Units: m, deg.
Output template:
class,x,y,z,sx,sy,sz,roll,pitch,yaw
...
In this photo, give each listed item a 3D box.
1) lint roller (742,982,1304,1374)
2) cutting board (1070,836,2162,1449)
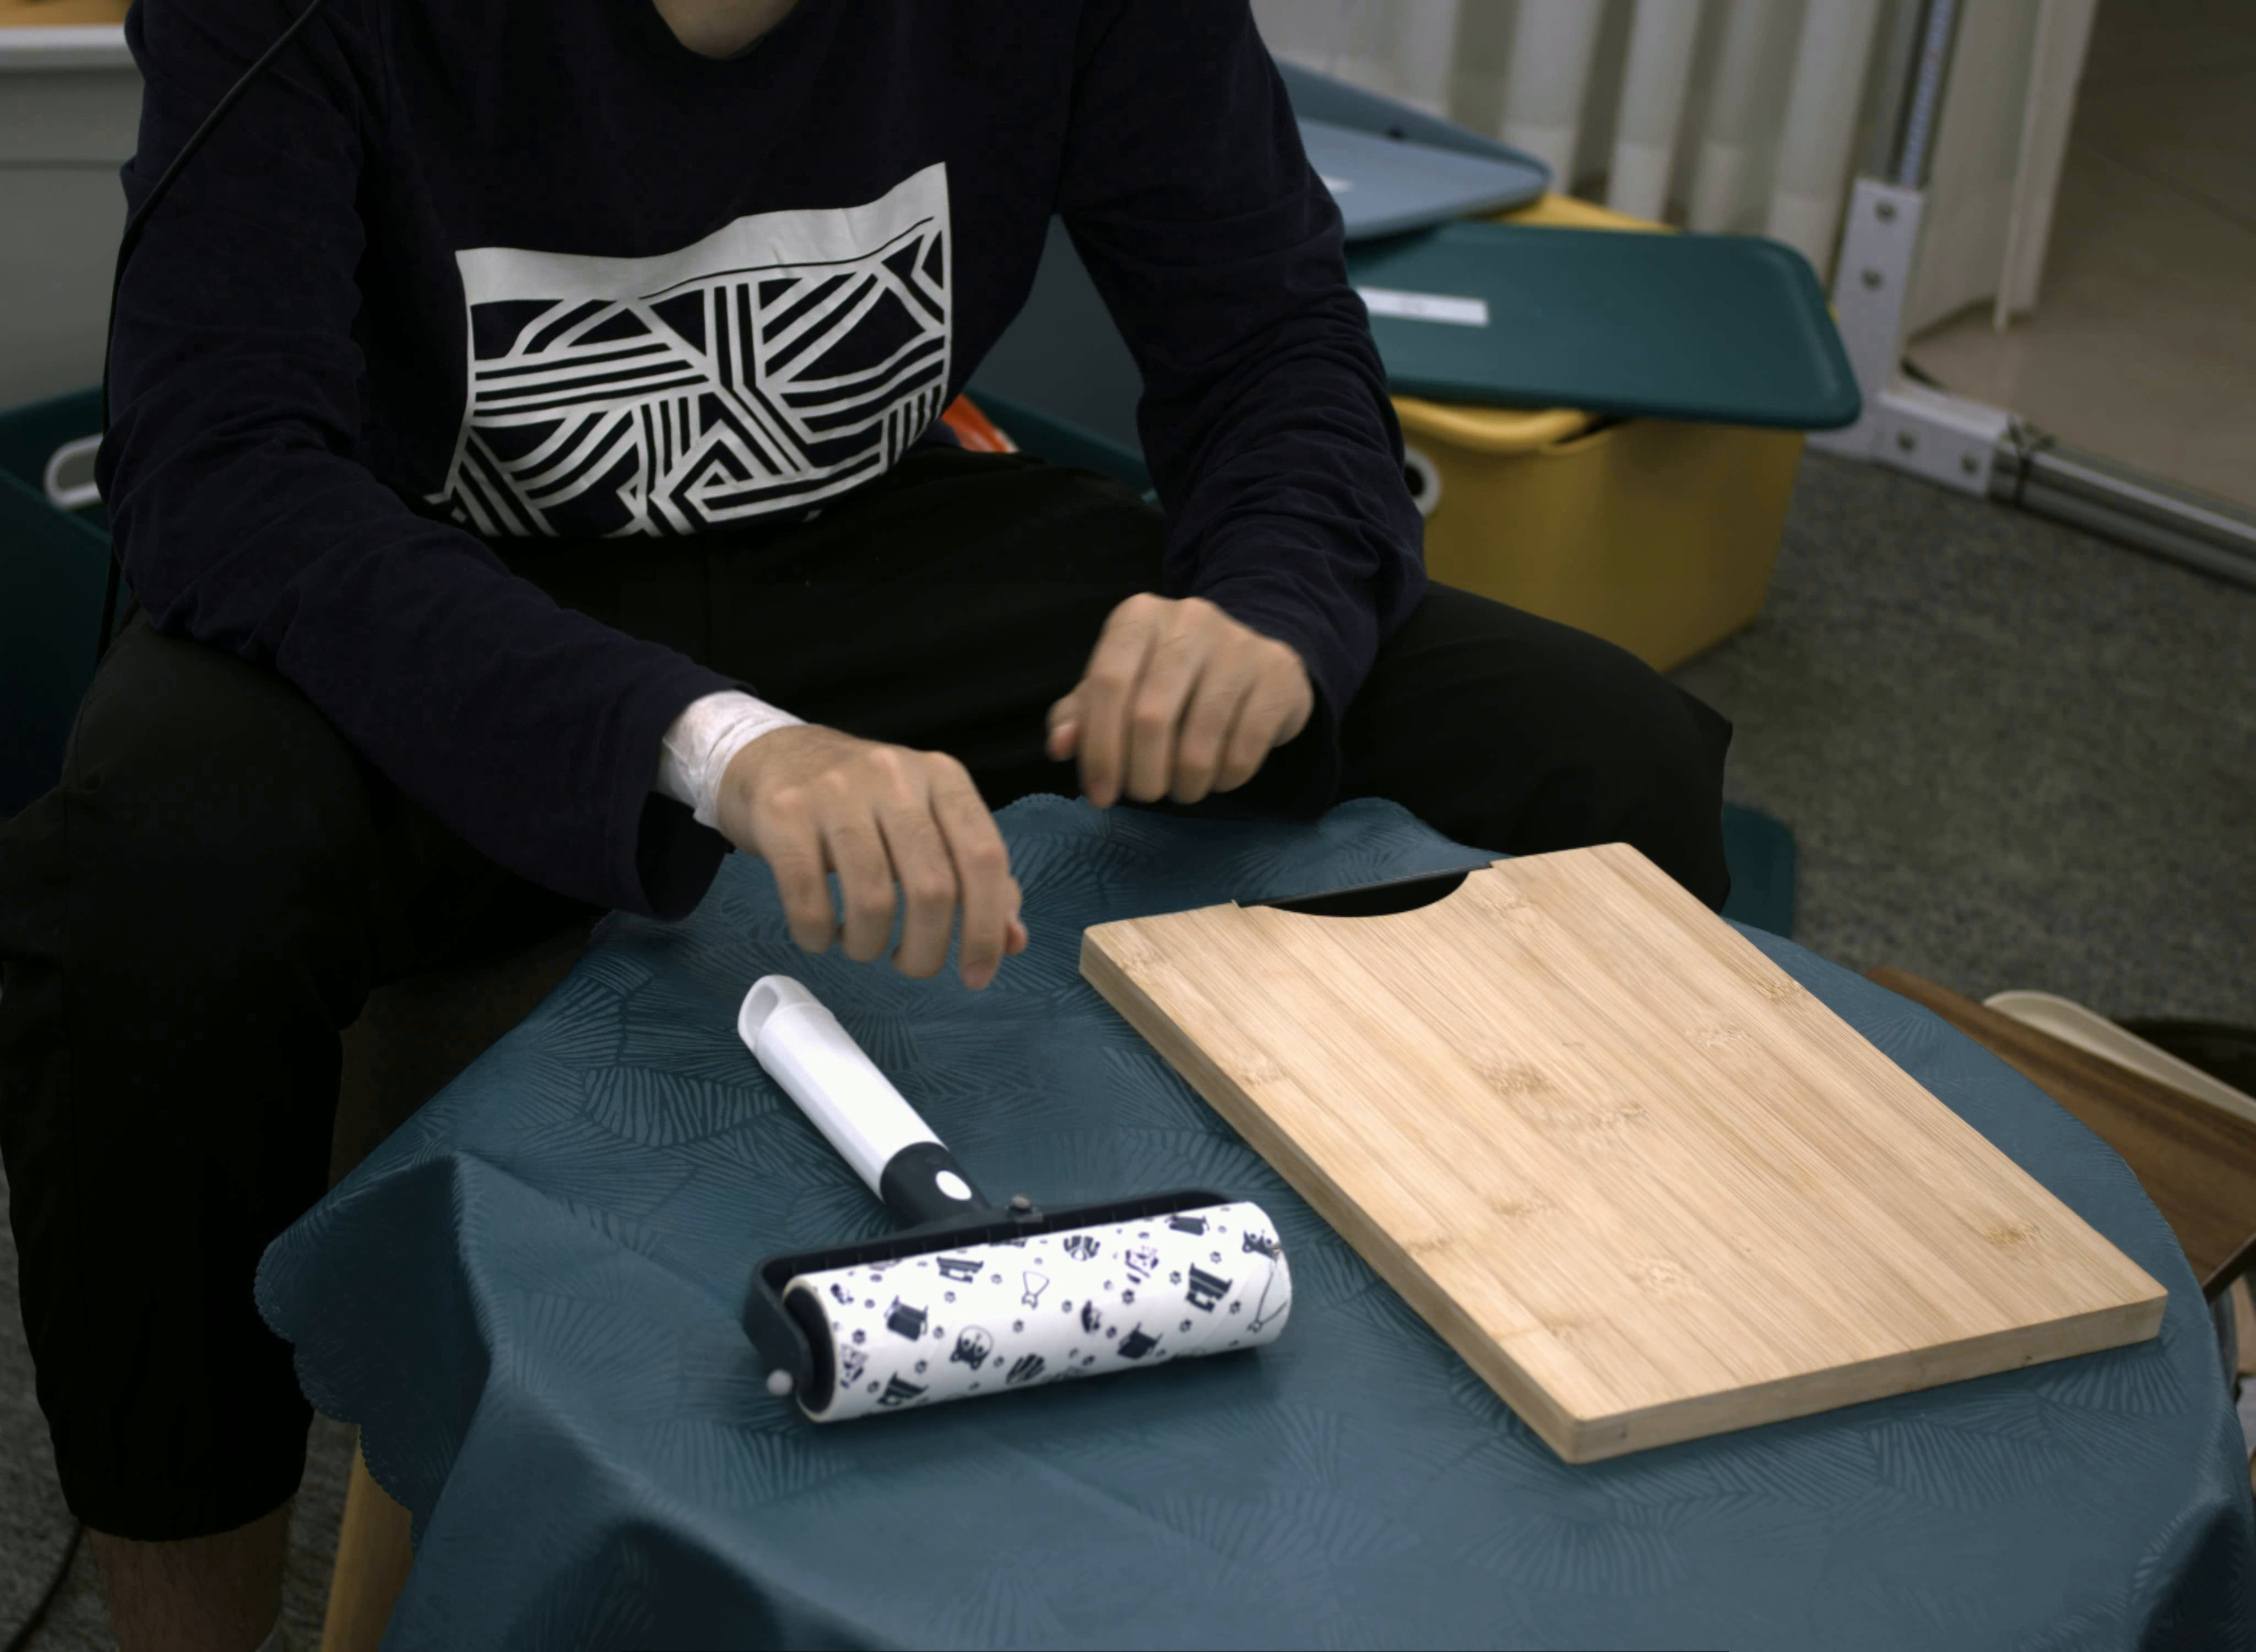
class,x,y,z,sx,sy,sz,roll,pitch,yaw
lint roller,-0.067,0.104,1.766,0.175,0.050,0.249,-3,25,-22
cutting board,0.162,0.103,1.866,0.249,0.023,0.352,-8,30,-28
